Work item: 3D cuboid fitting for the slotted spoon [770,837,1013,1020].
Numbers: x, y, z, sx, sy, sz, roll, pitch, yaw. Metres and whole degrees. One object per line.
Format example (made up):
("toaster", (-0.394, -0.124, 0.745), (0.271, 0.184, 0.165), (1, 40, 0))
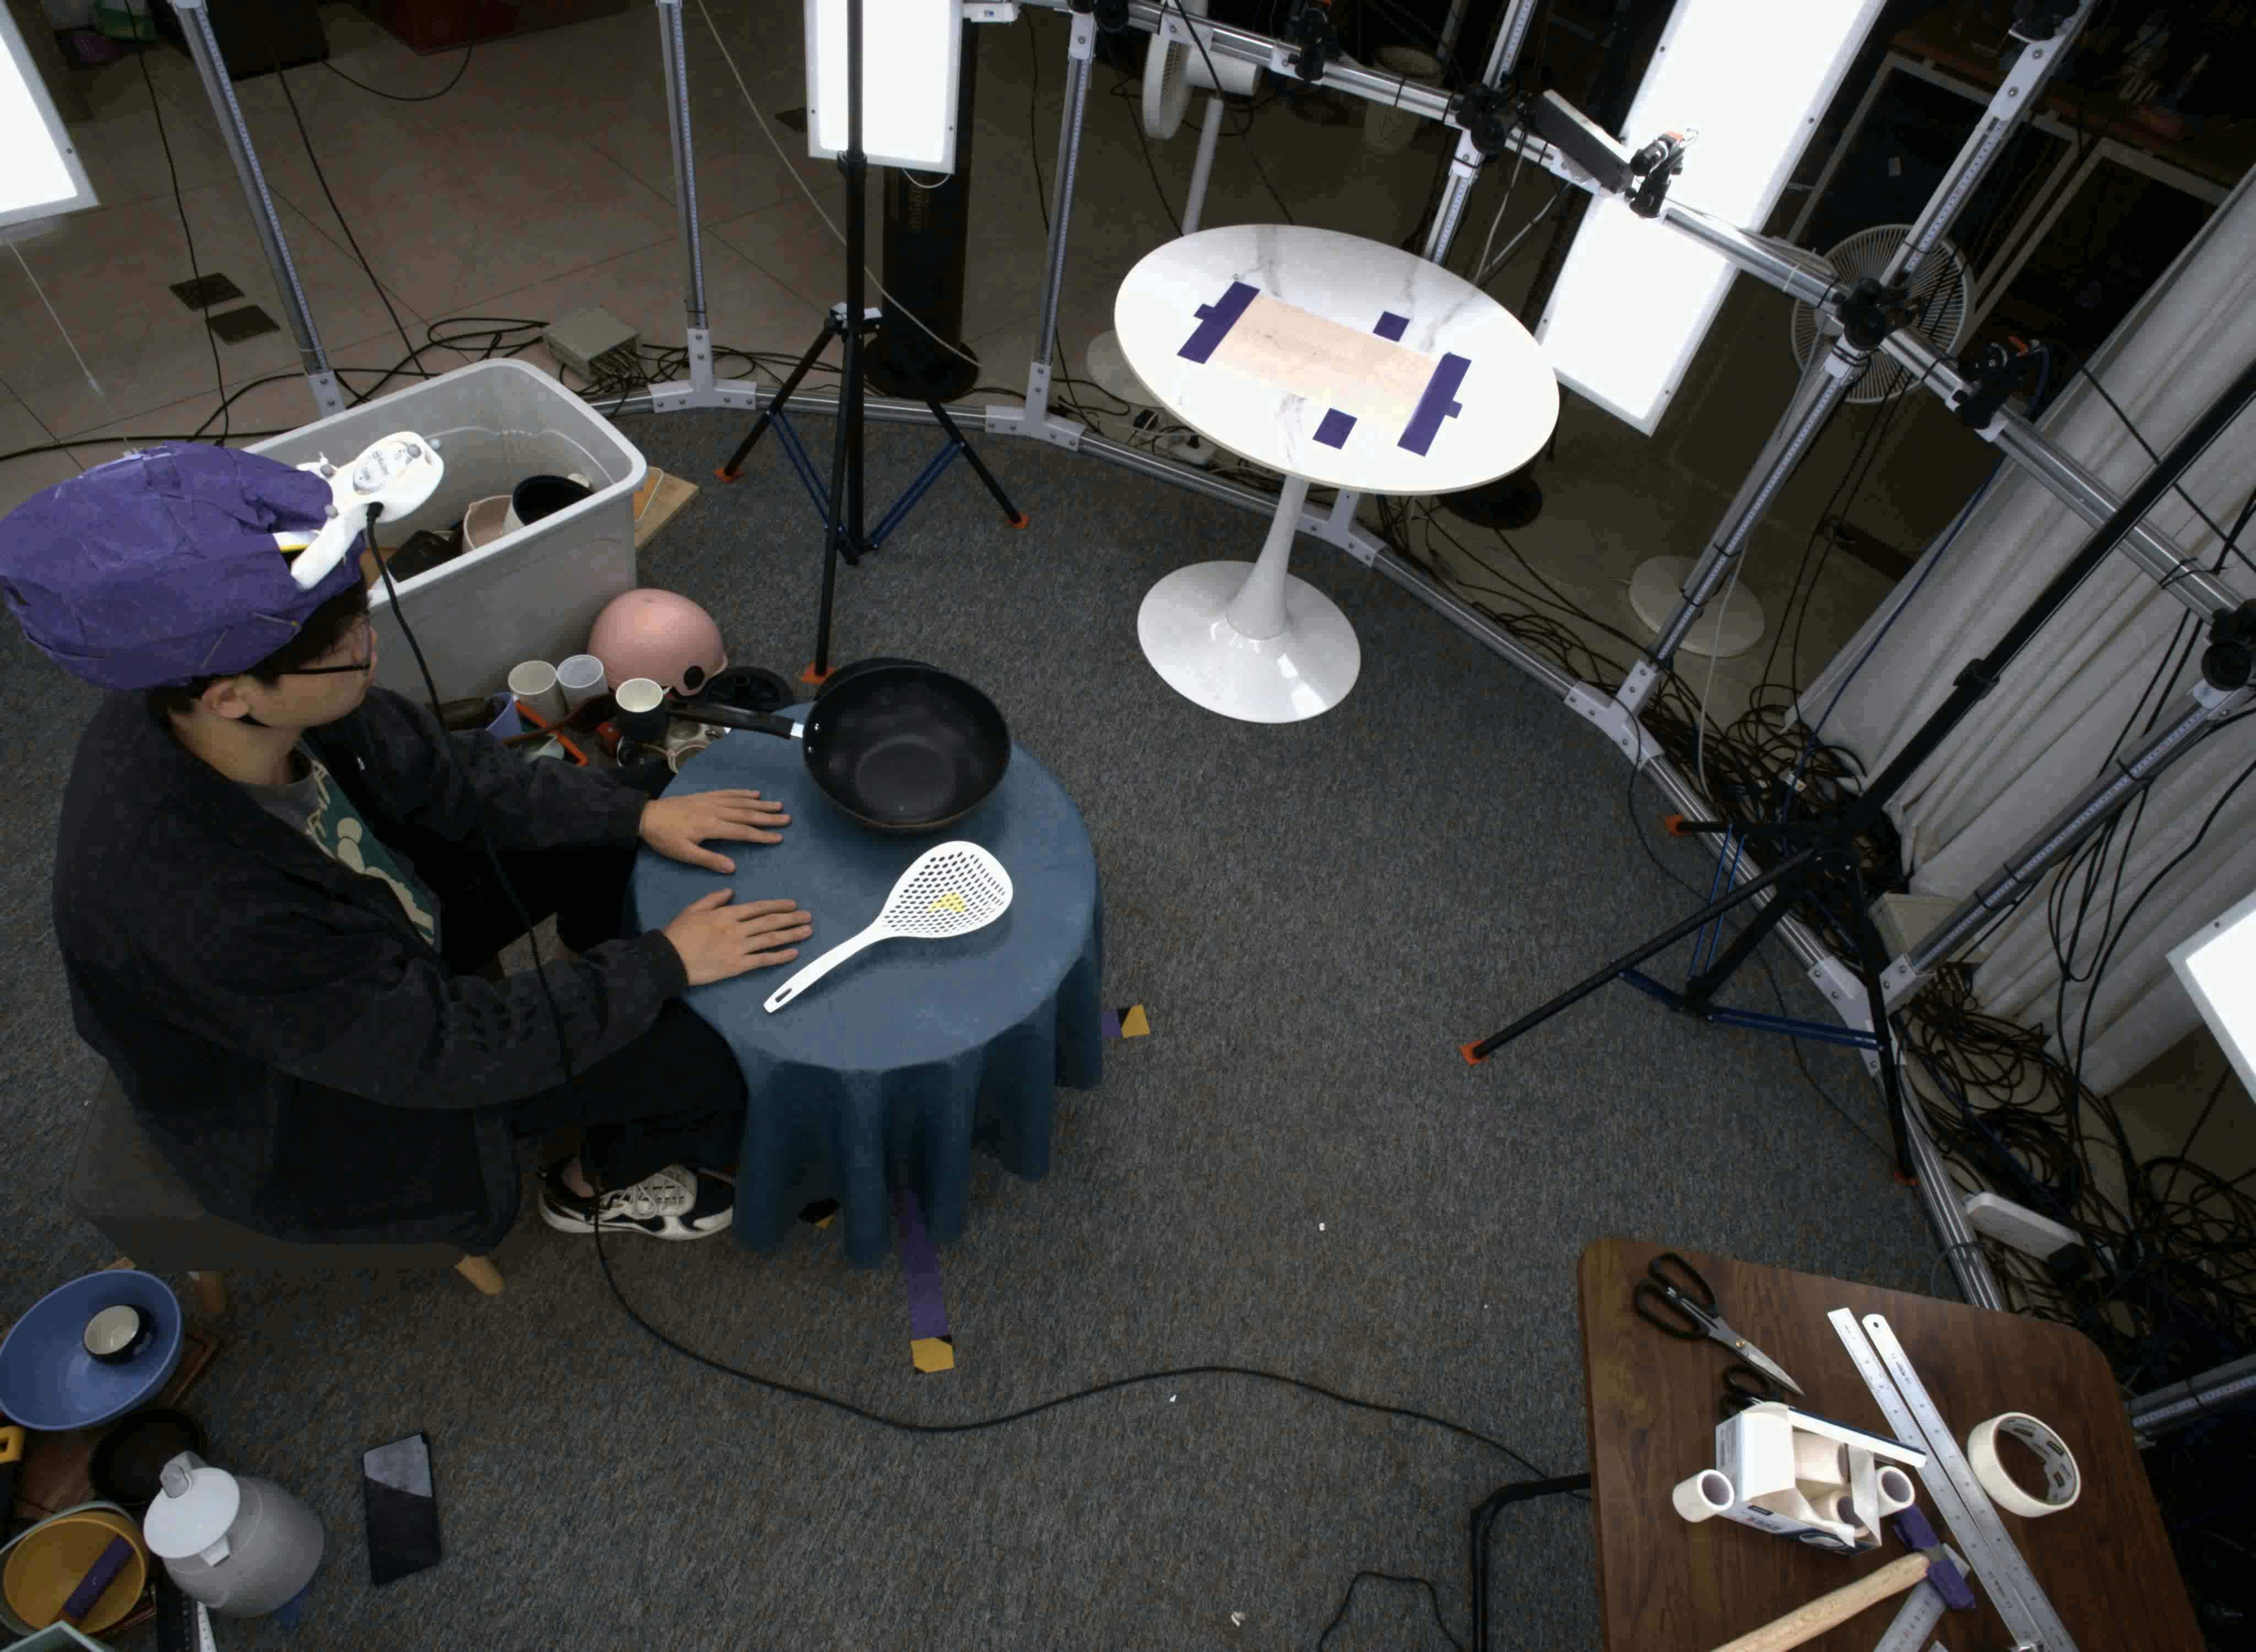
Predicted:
("slotted spoon", (-0.301, 0.132, 1.631), (0.349, 0.051, 0.134), (-30, 67, -30))

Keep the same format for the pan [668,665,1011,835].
("pan", (-0.390, -0.103, 1.757), (0.461, 0.089, 0.283), (8, 52, -6))
